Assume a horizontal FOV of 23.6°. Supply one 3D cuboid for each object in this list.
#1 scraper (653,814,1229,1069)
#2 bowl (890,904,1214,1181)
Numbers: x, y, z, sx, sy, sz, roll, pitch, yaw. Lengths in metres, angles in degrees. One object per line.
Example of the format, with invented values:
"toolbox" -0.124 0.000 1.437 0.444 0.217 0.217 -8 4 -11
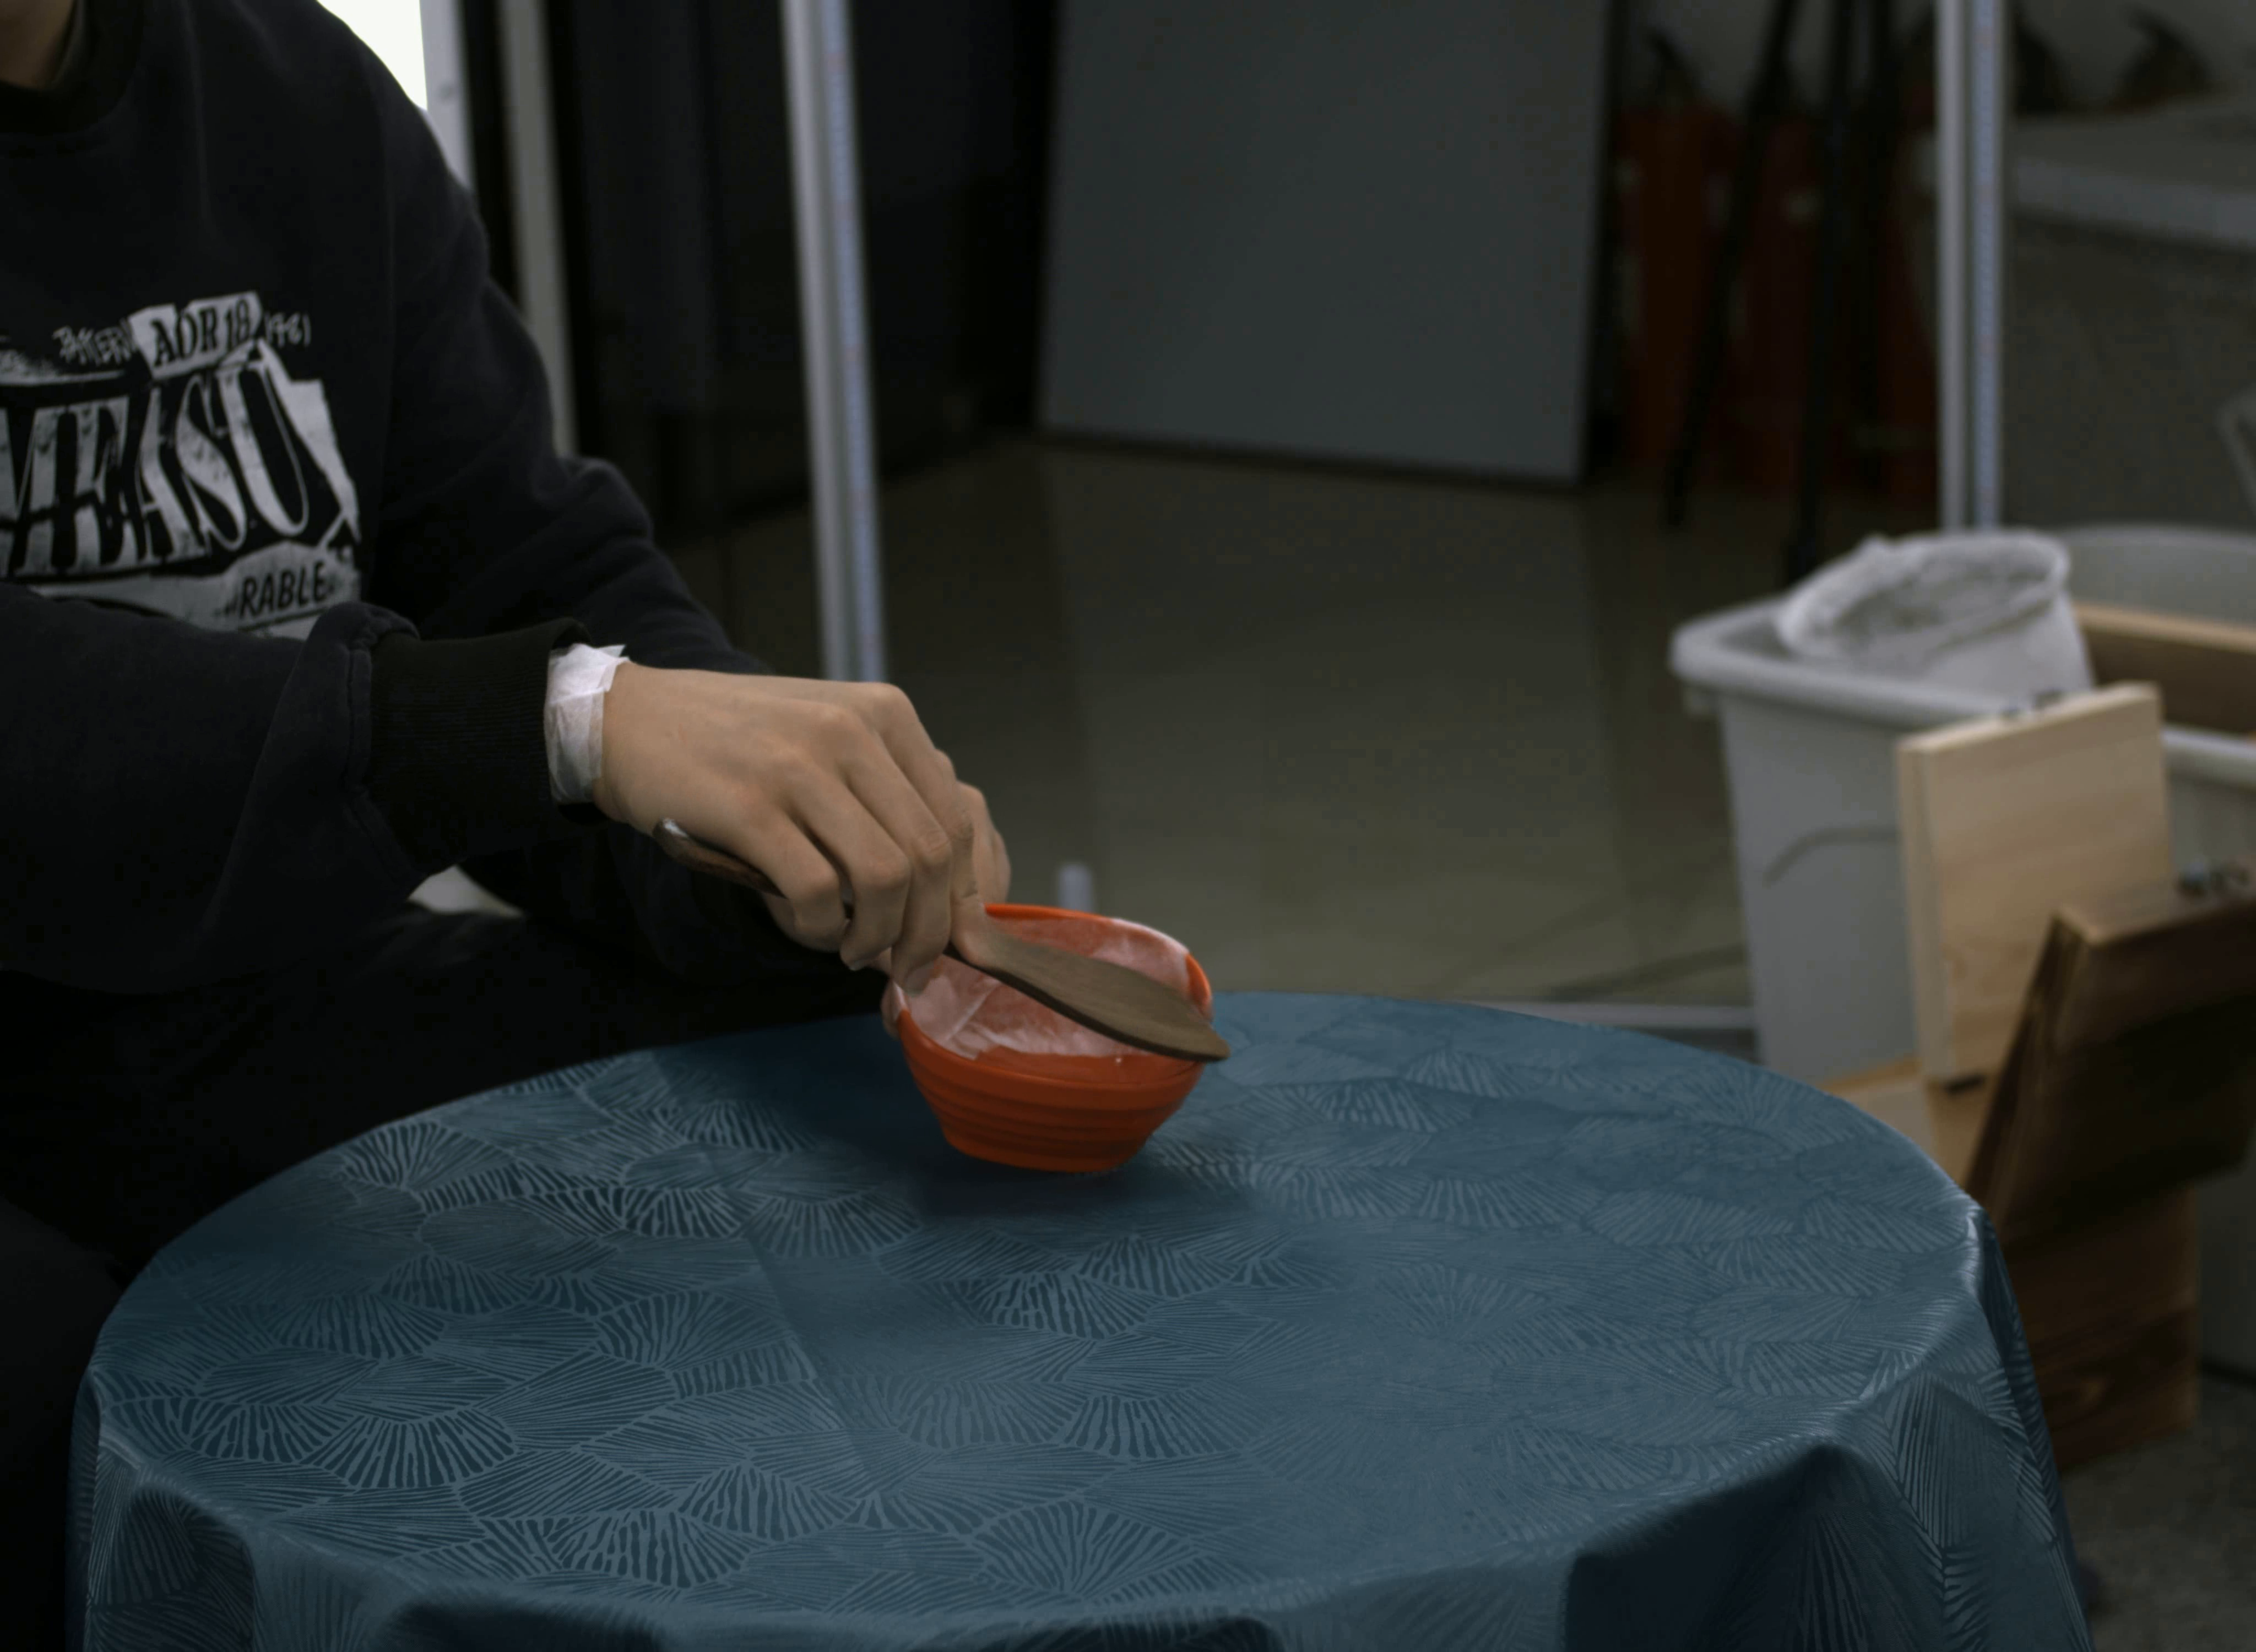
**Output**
"scraper" -0.061 0.035 1.742 0.207 0.011 0.076 22 13 -28
"bowl" -0.028 0.078 1.805 0.117 0.052 0.119 7 31 -5
